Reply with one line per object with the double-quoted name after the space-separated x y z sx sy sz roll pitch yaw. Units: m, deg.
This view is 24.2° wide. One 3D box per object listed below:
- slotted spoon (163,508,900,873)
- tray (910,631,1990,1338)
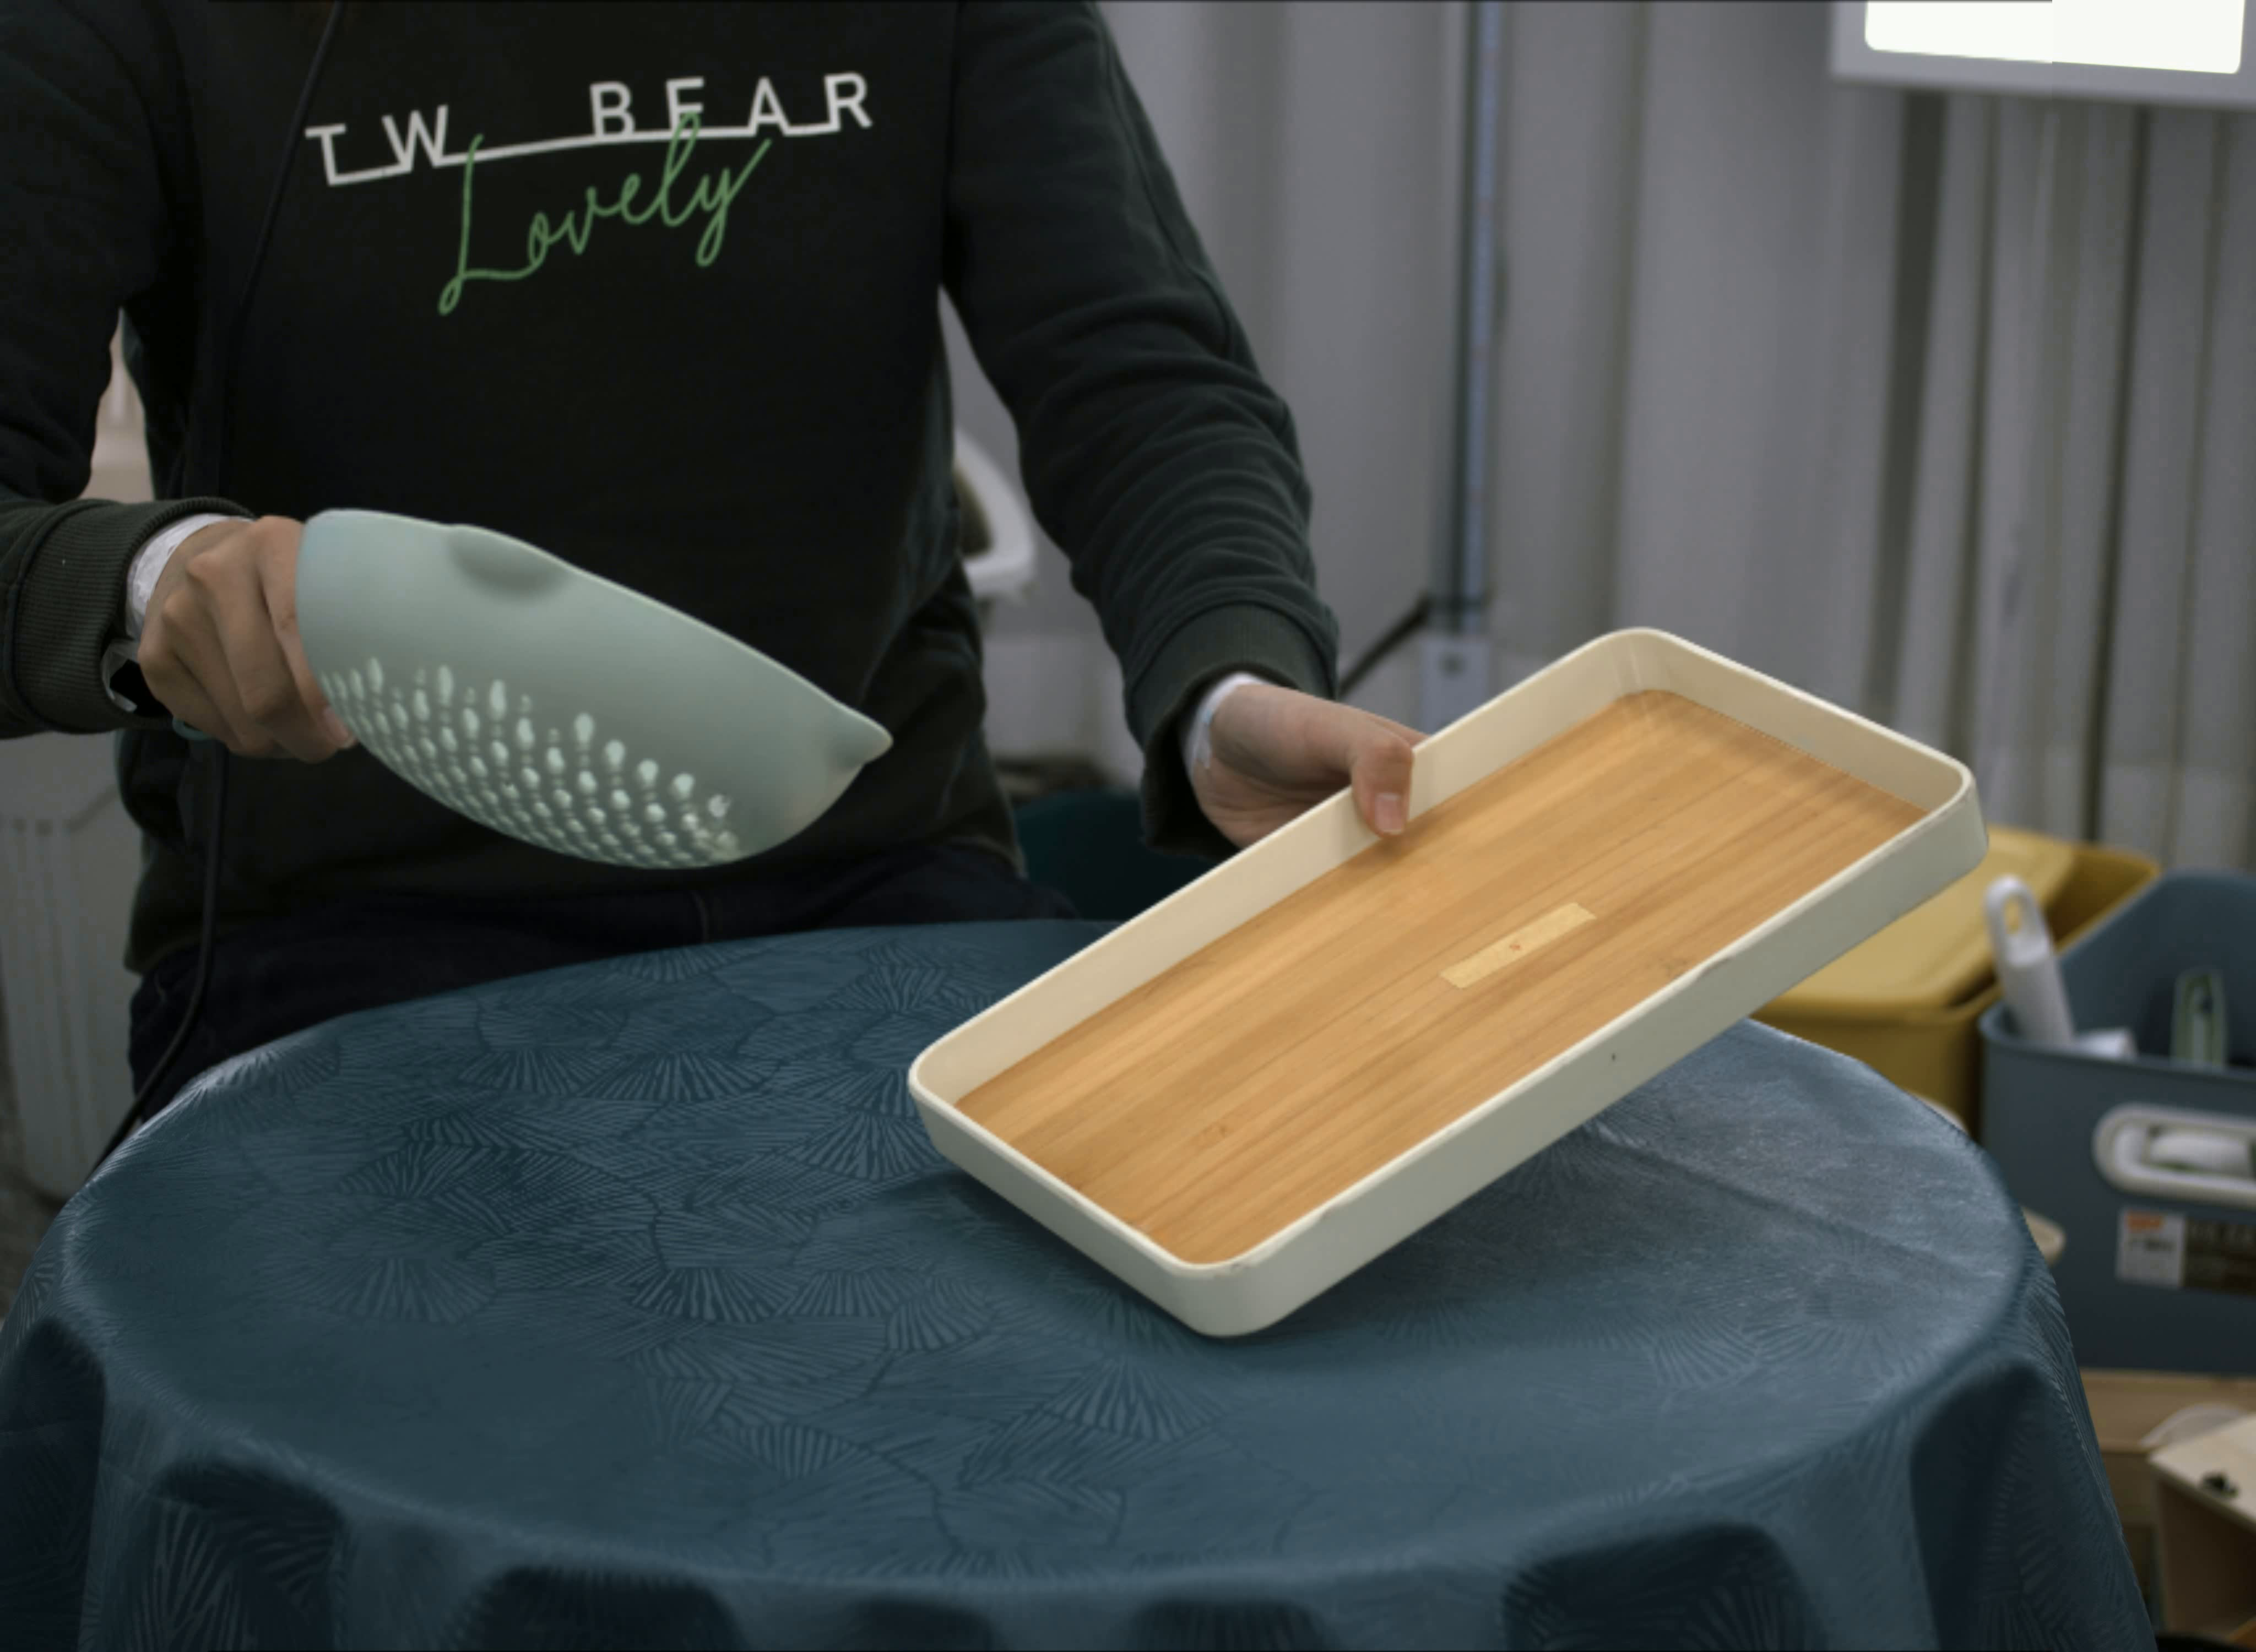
-0.205 -0.040 1.532 0.171 0.075 0.355 29 -7 -29 "slotted spoon"
0.097 0.042 1.612 0.300 0.028 0.189 -30 31 -20 "tray"
